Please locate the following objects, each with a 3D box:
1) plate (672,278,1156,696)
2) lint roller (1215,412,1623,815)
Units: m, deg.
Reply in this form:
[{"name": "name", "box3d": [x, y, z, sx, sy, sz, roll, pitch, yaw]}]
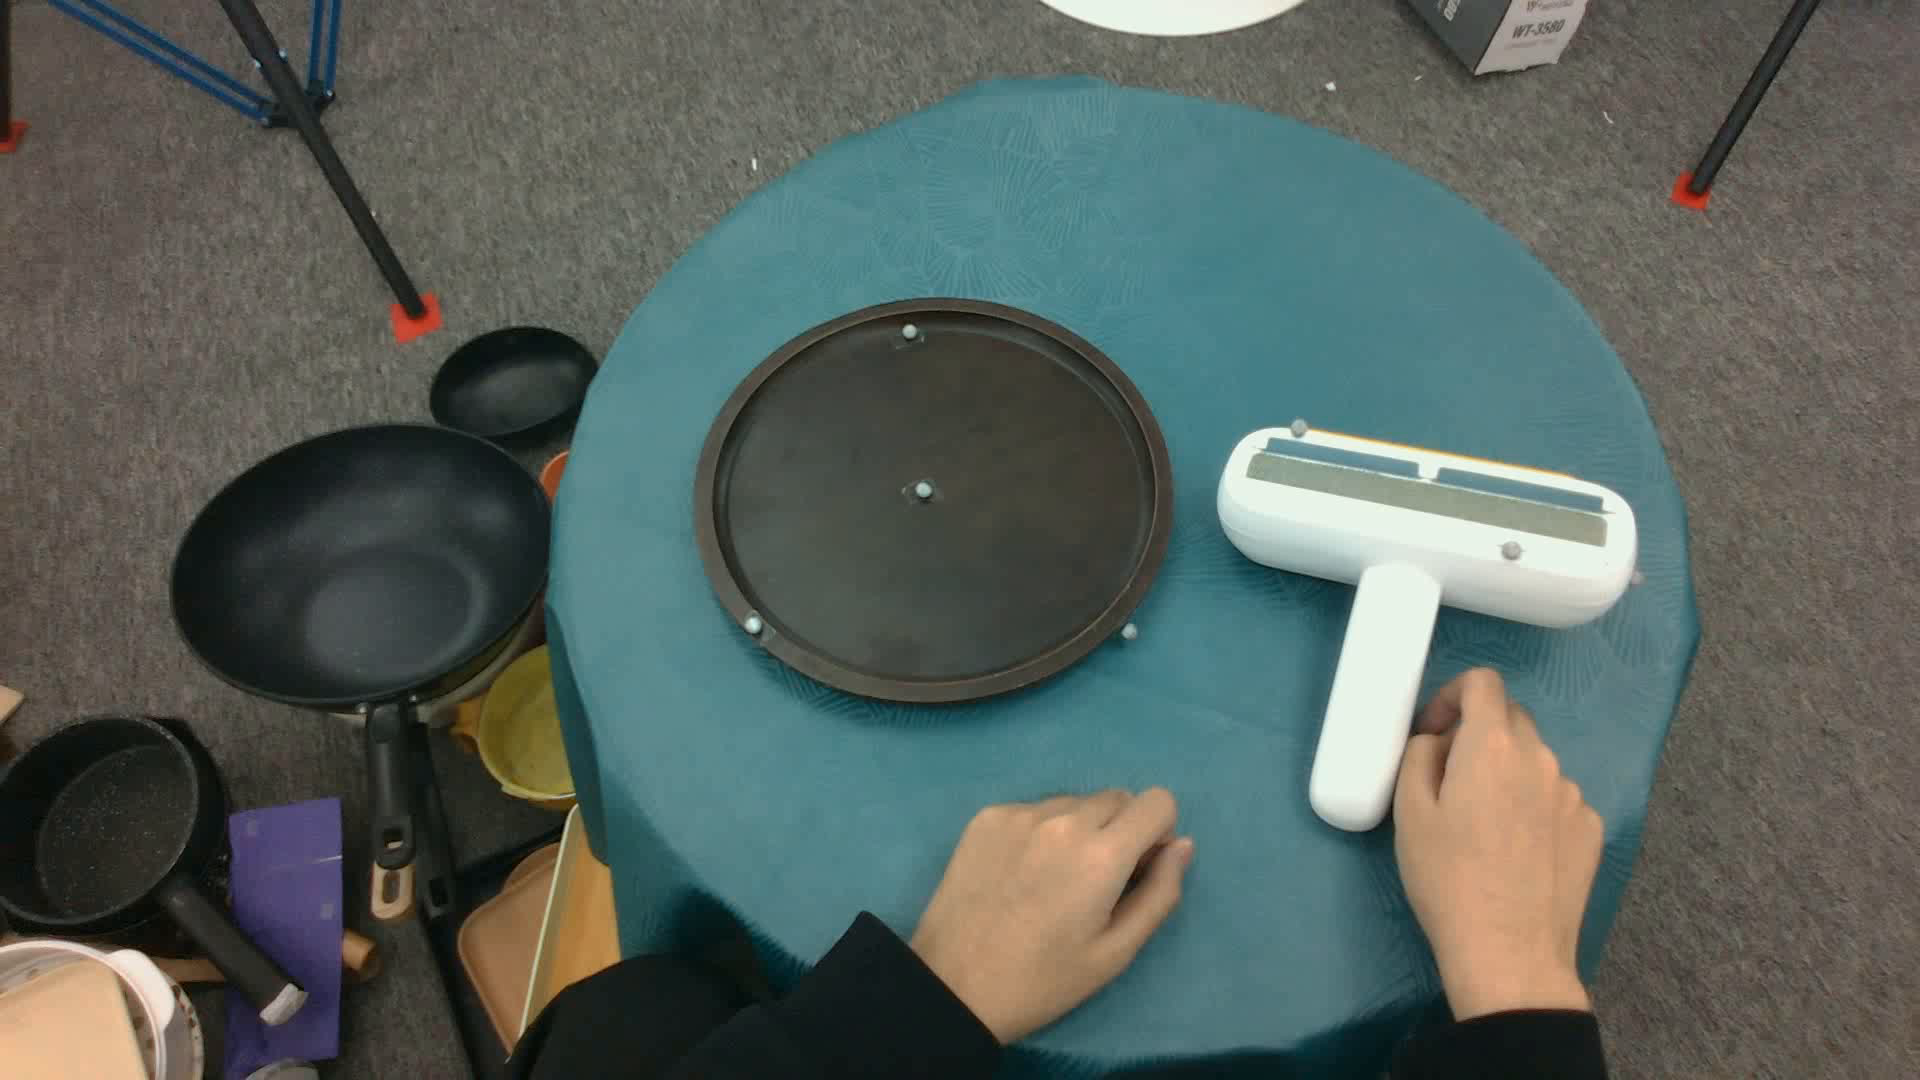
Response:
[{"name": "plate", "box3d": [-0.024, -0.033, 0.726, 0.255, 0.029, 0.256, 0, 61, 0]}, {"name": "lint roller", "box3d": [0.198, 0.037, 0.660, 0.193, 0.074, 0.193, 19, 63, 17]}]
